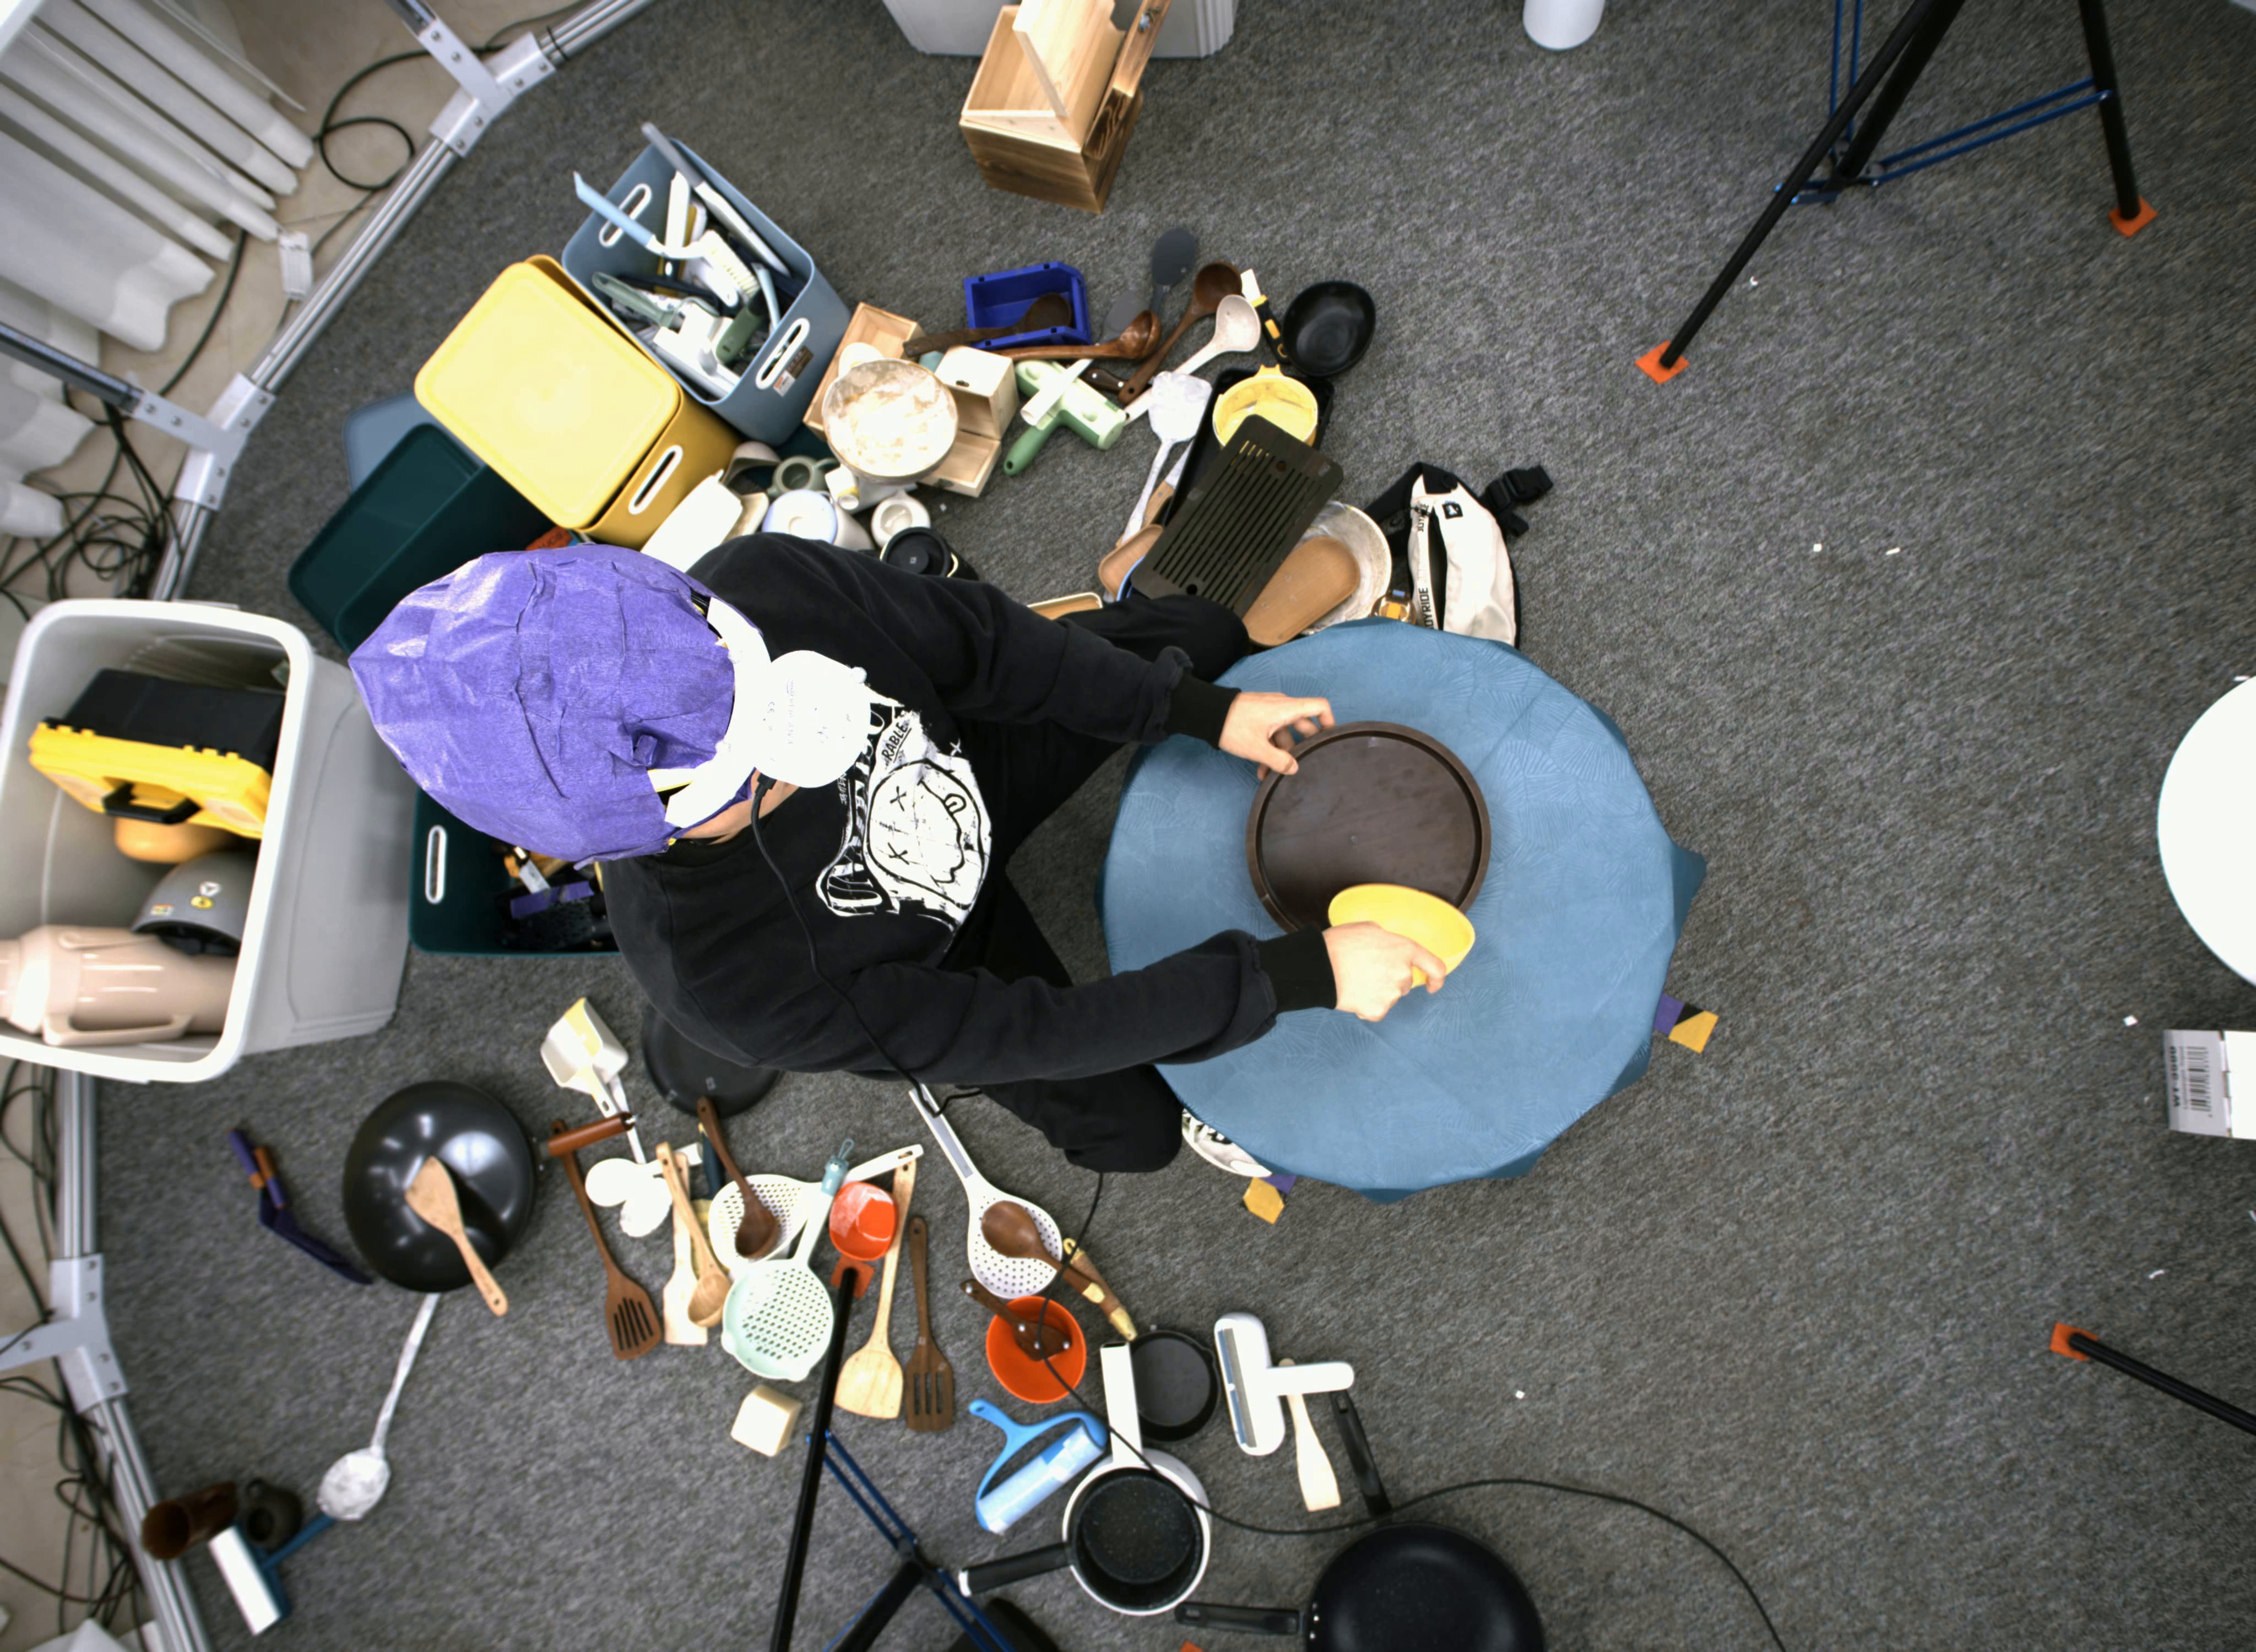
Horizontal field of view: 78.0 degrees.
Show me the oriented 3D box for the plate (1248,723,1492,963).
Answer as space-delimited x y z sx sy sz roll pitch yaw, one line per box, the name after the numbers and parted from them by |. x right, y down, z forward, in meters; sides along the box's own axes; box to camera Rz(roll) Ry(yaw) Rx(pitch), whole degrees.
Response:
0.250 0.018 1.429 0.255 0.028 0.257 1 103 4 | plate

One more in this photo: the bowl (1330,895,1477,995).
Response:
0.271 0.125 1.381 0.145 0.142 0.061 8 116 10 | bowl
